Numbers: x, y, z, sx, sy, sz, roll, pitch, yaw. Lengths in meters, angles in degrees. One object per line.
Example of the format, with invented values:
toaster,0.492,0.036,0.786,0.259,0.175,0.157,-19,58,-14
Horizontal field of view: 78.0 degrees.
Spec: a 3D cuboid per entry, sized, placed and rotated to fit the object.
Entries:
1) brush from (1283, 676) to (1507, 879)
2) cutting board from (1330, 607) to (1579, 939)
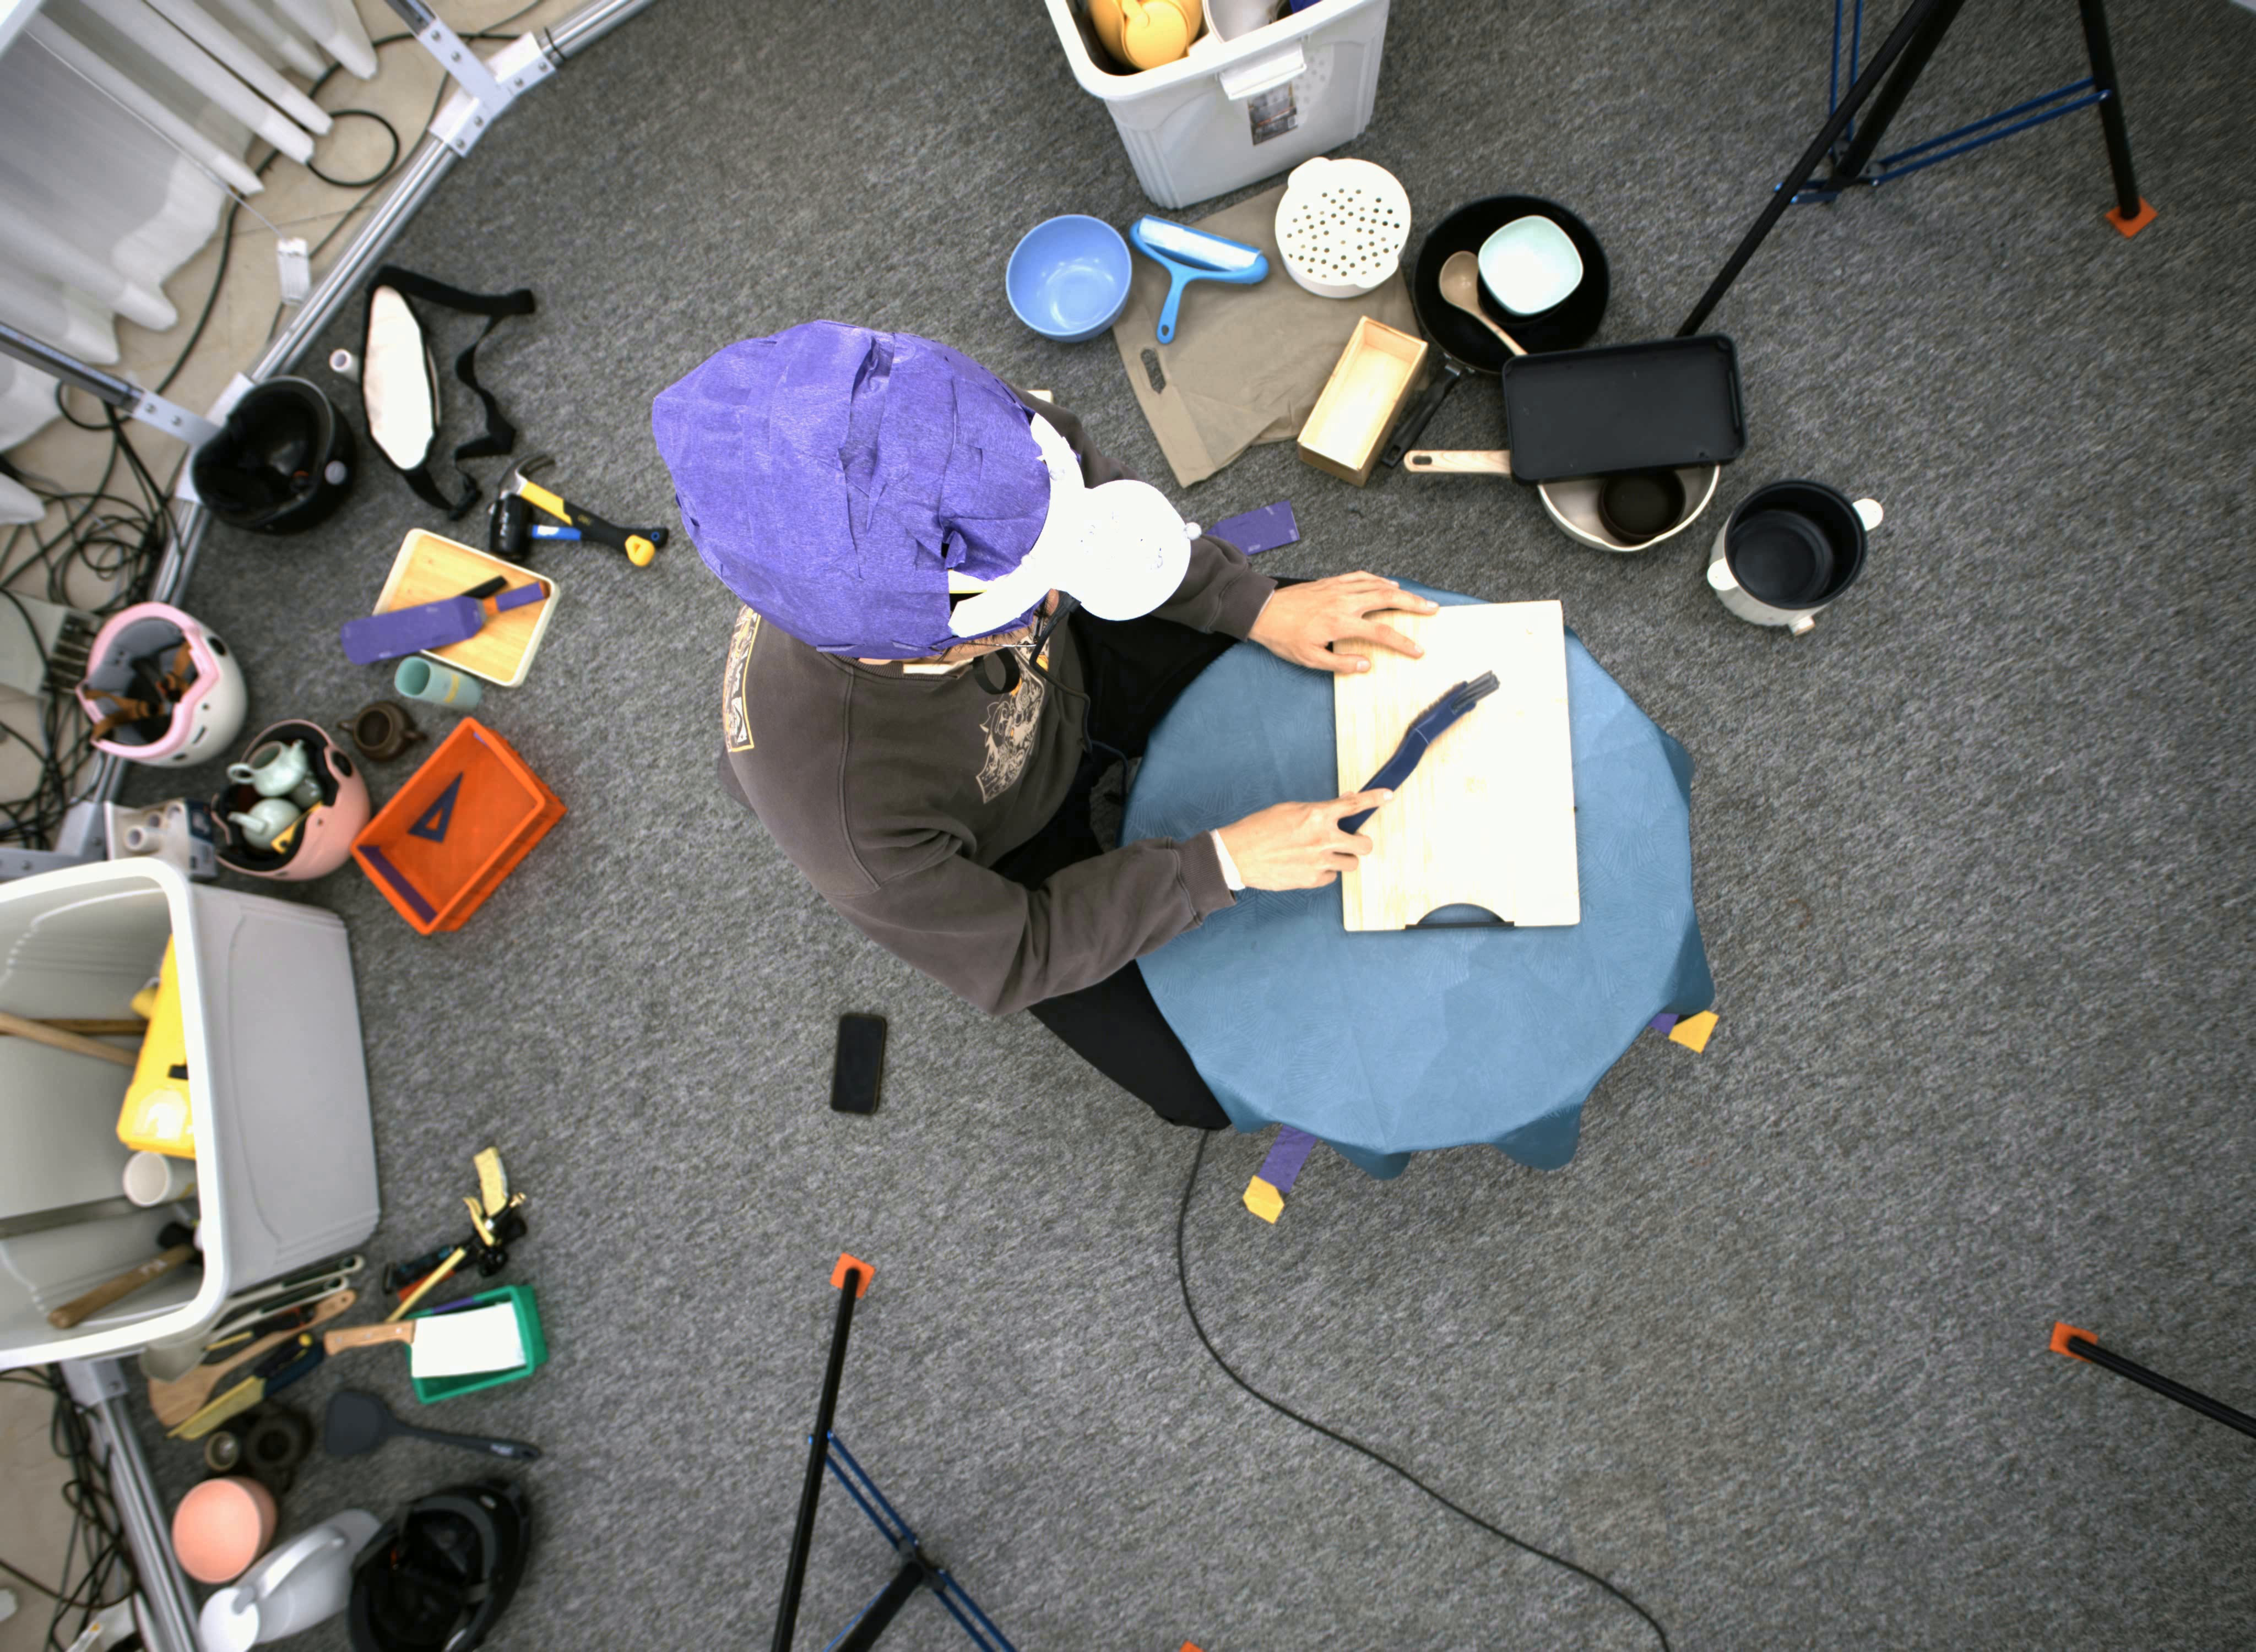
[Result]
brush,0.264,-0.053,1.369,0.270,0.095,0.034,-48,112,-11
cutting board,0.340,-0.059,1.443,0.252,0.023,0.347,-3,87,11
